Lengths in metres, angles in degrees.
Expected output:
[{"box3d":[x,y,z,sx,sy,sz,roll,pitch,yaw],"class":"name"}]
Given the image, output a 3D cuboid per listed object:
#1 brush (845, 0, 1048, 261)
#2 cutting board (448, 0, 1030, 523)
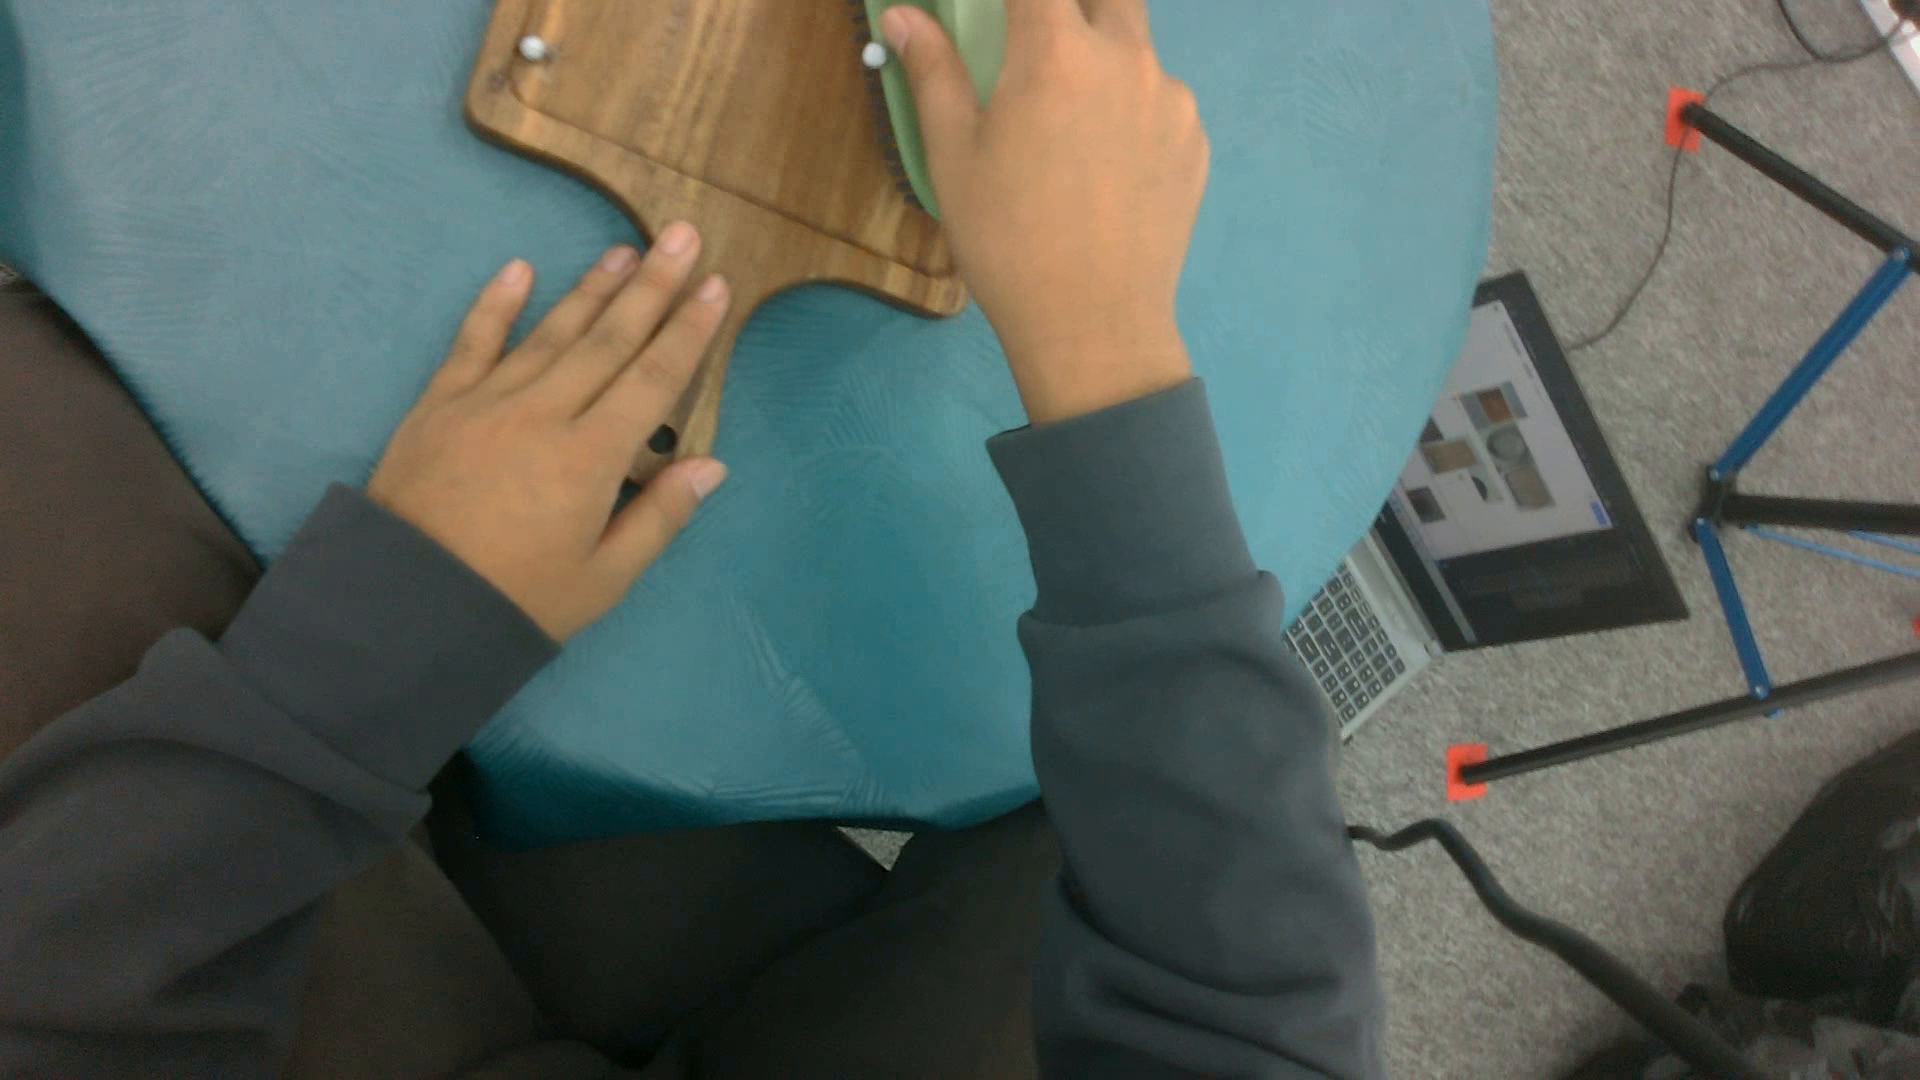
[{"box3d":[-0.004,-0.164,0.503,0.060,0.076,0.122,-21,126,-29],"class":"brush"},{"box3d":[-0.079,-0.178,0.531,0.201,0.023,0.352,16,87,-23],"class":"cutting board"}]
